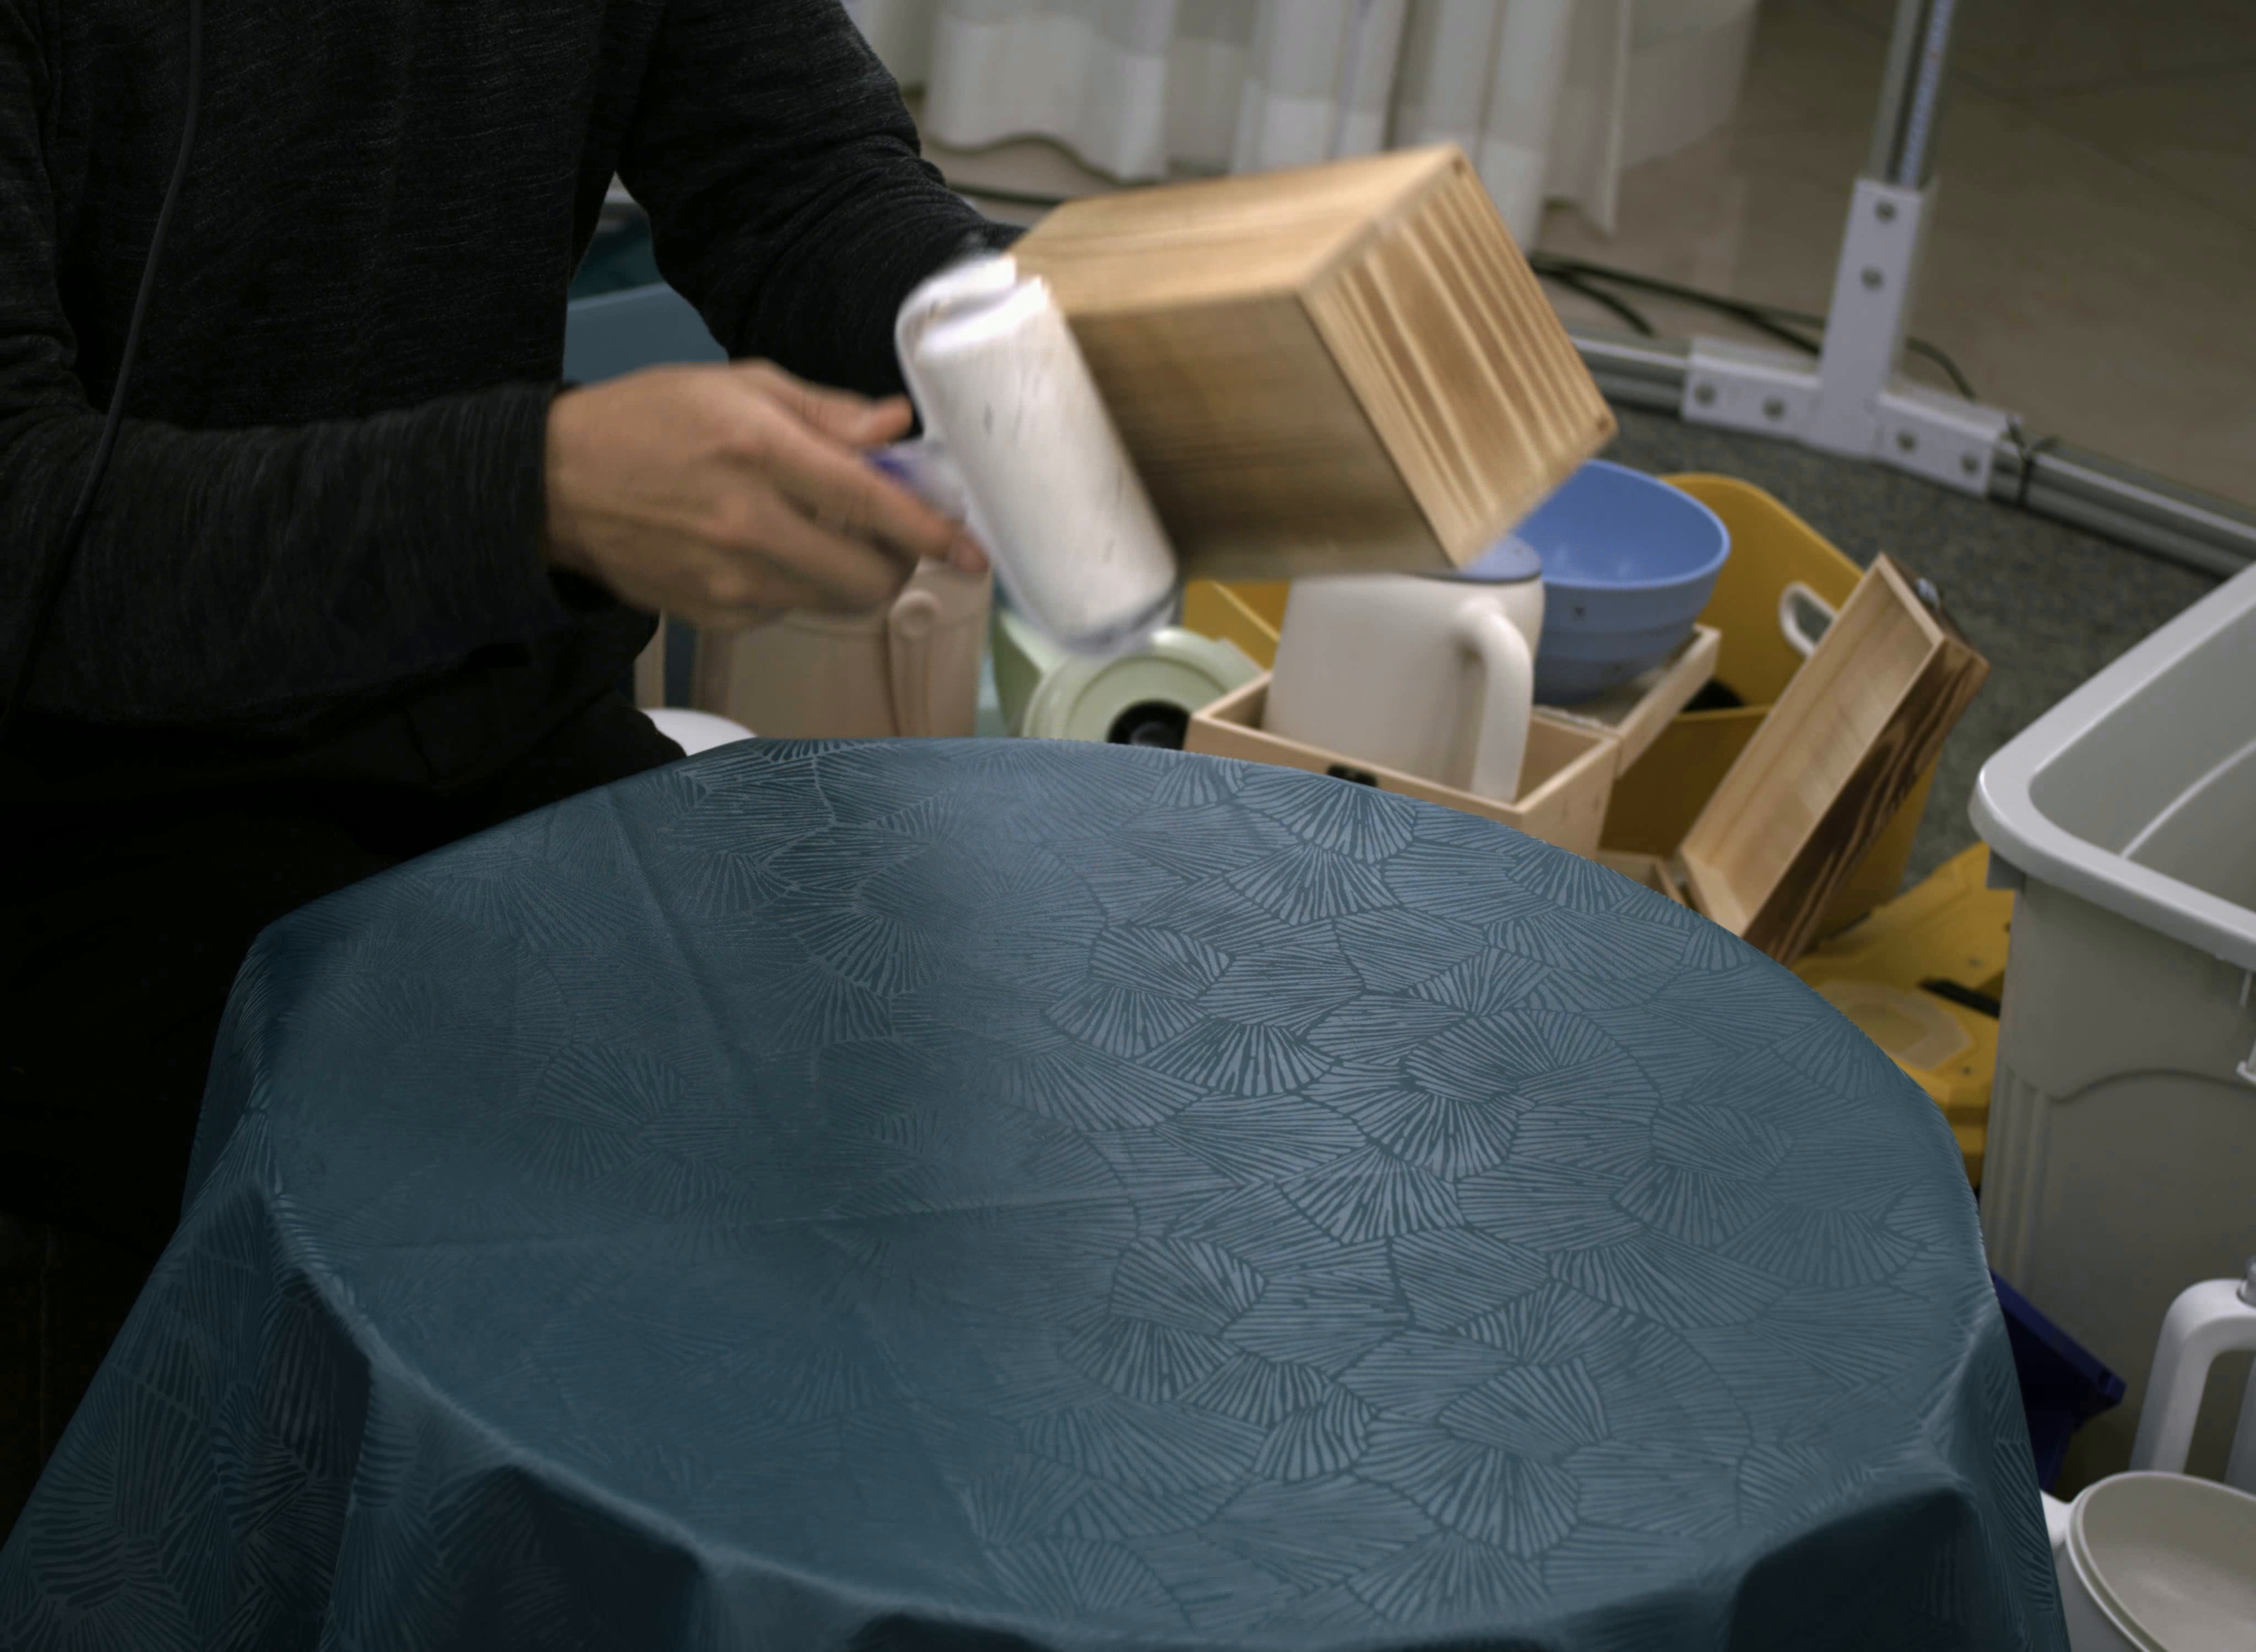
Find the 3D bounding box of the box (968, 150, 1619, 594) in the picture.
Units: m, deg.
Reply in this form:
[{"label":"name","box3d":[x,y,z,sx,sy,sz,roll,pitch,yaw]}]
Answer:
[{"label":"box","box3d":[0.040,-0.140,1.687,0.080,0.107,0.212,-43,24,-27]}]

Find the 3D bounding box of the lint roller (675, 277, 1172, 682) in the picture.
[{"label":"lint roller","box3d":[-0.081,-0.097,1.680,0.181,0.132,0.050,-11,24,32]}]
